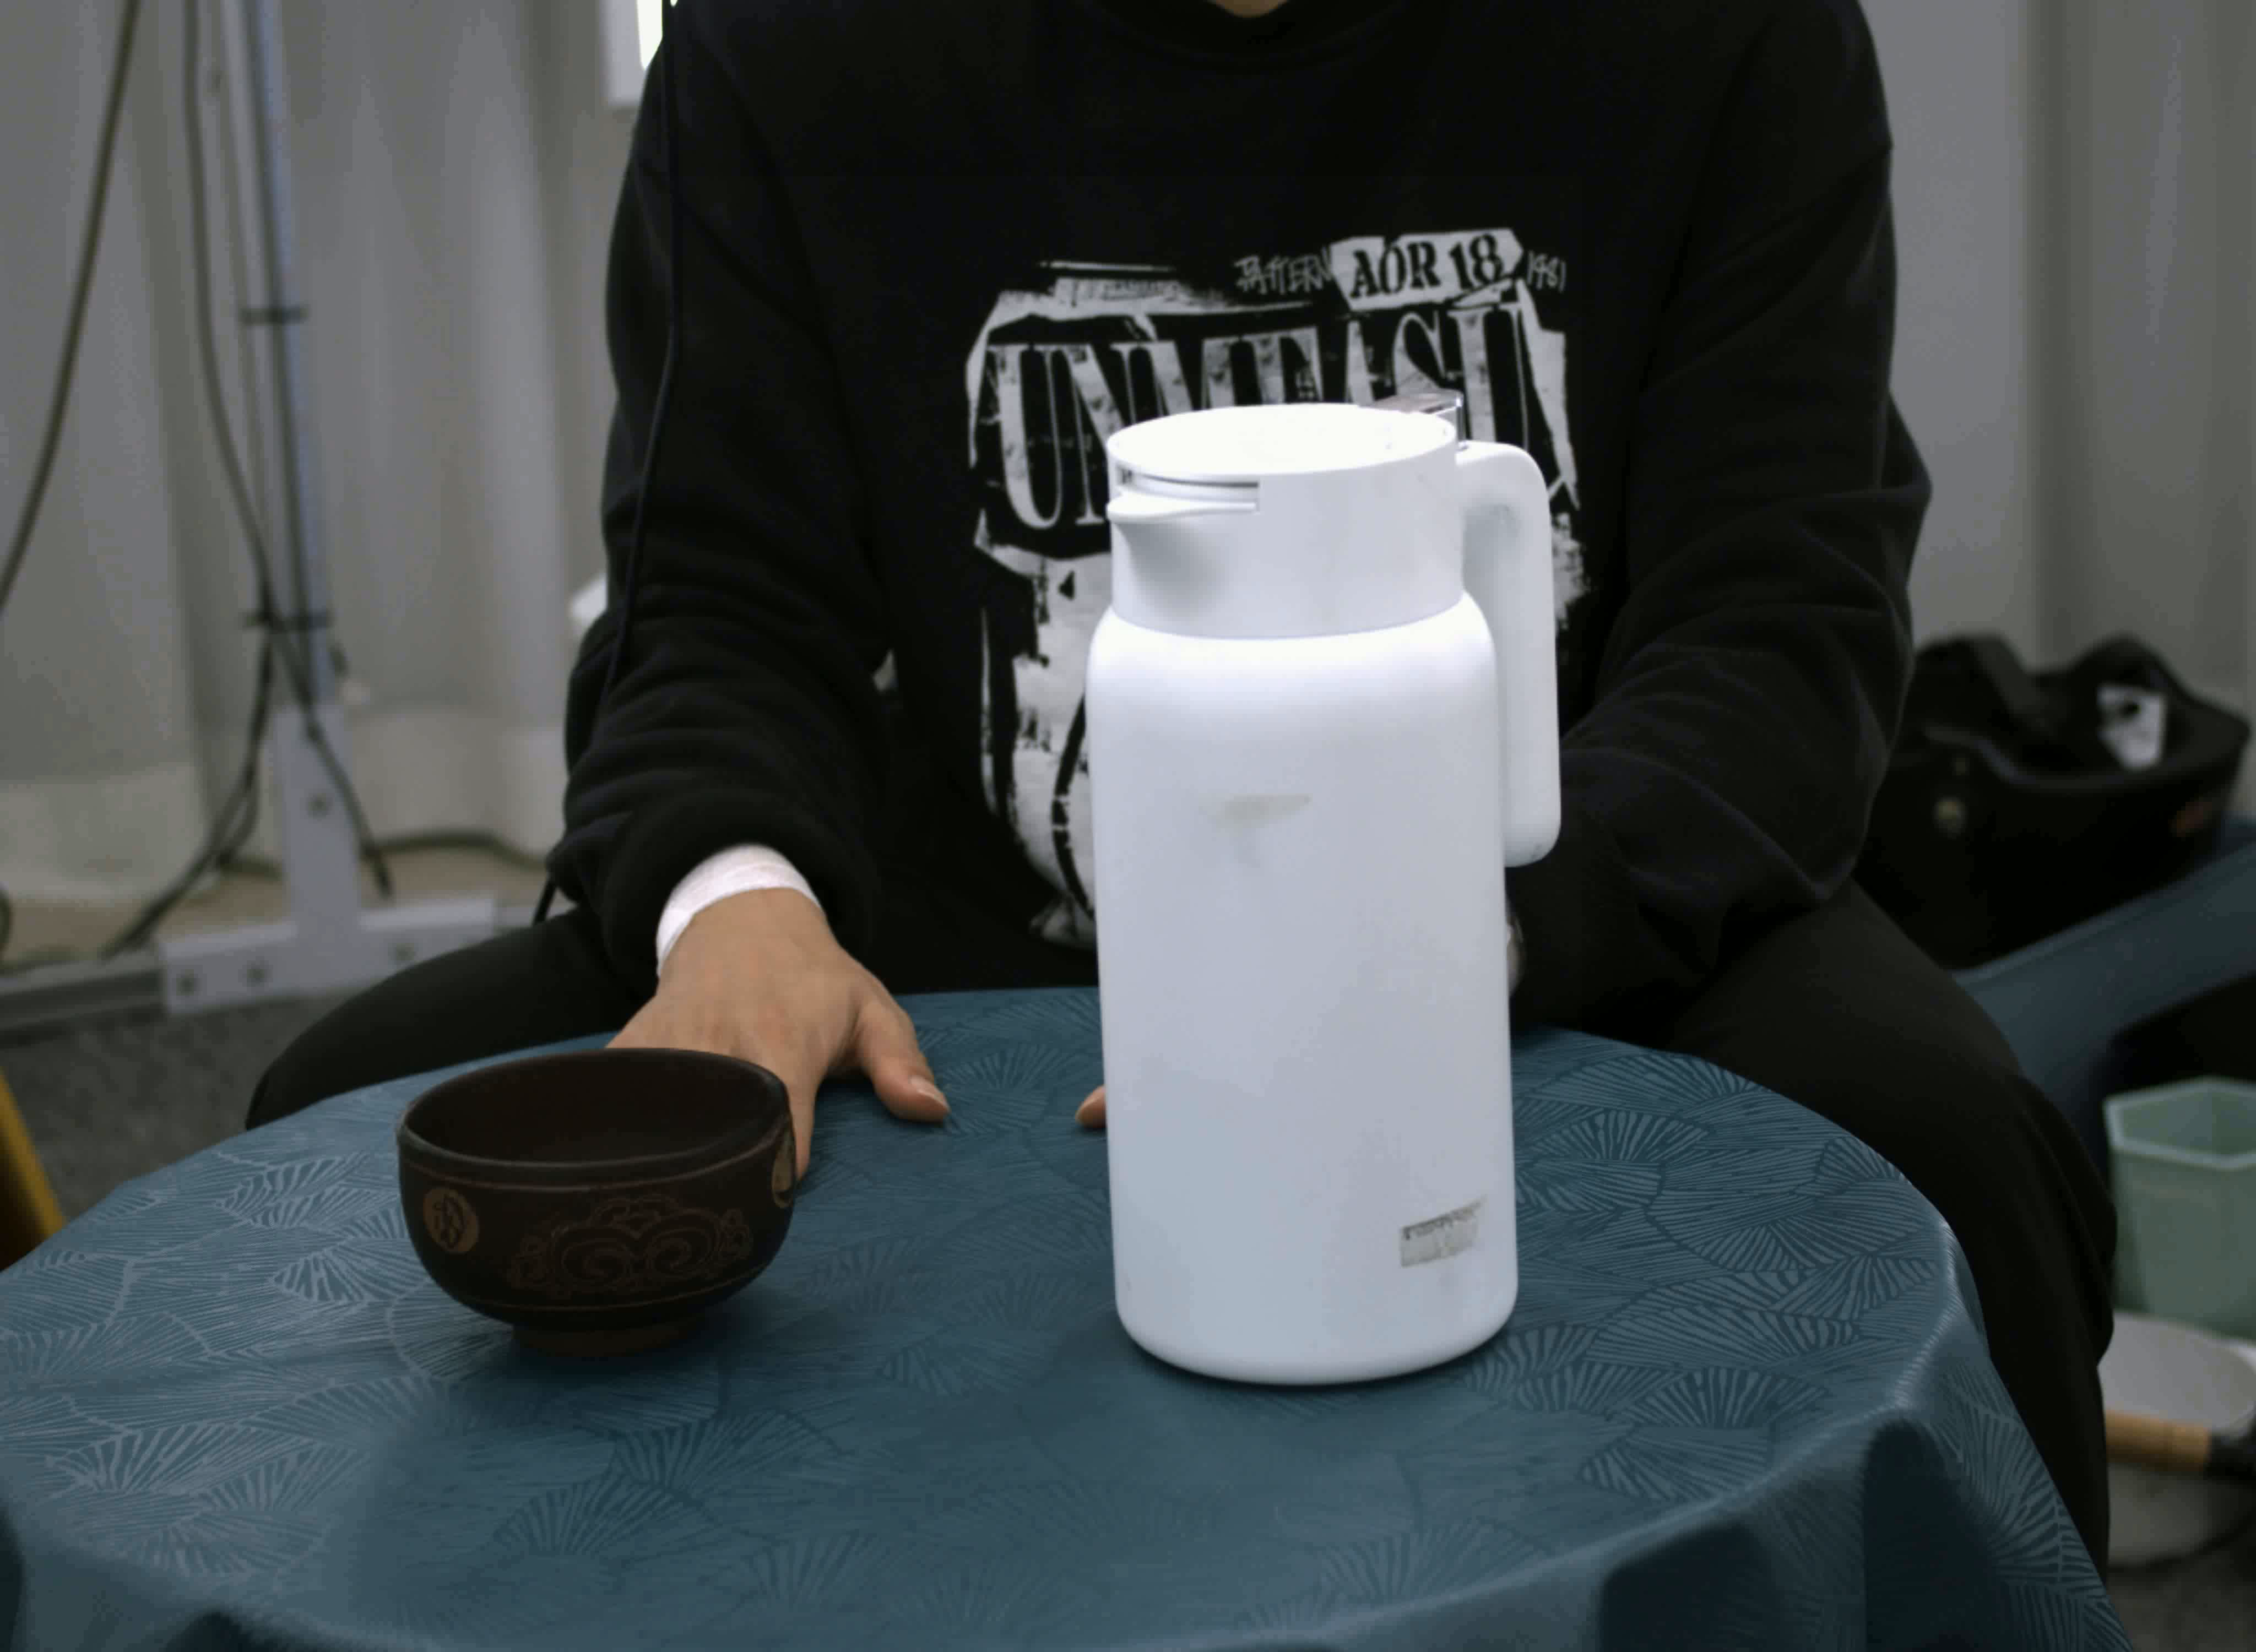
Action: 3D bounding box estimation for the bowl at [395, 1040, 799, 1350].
[{"bbox_3d":[-0.155,0.112,1.610,0.117,0.069,0.119,-3,14,0],"label":"bowl"}]

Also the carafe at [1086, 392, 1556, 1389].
[{"bbox_3d":[0.060,0.014,1.569,0.124,0.268,0.172,6,16,41],"label":"carafe"}]
